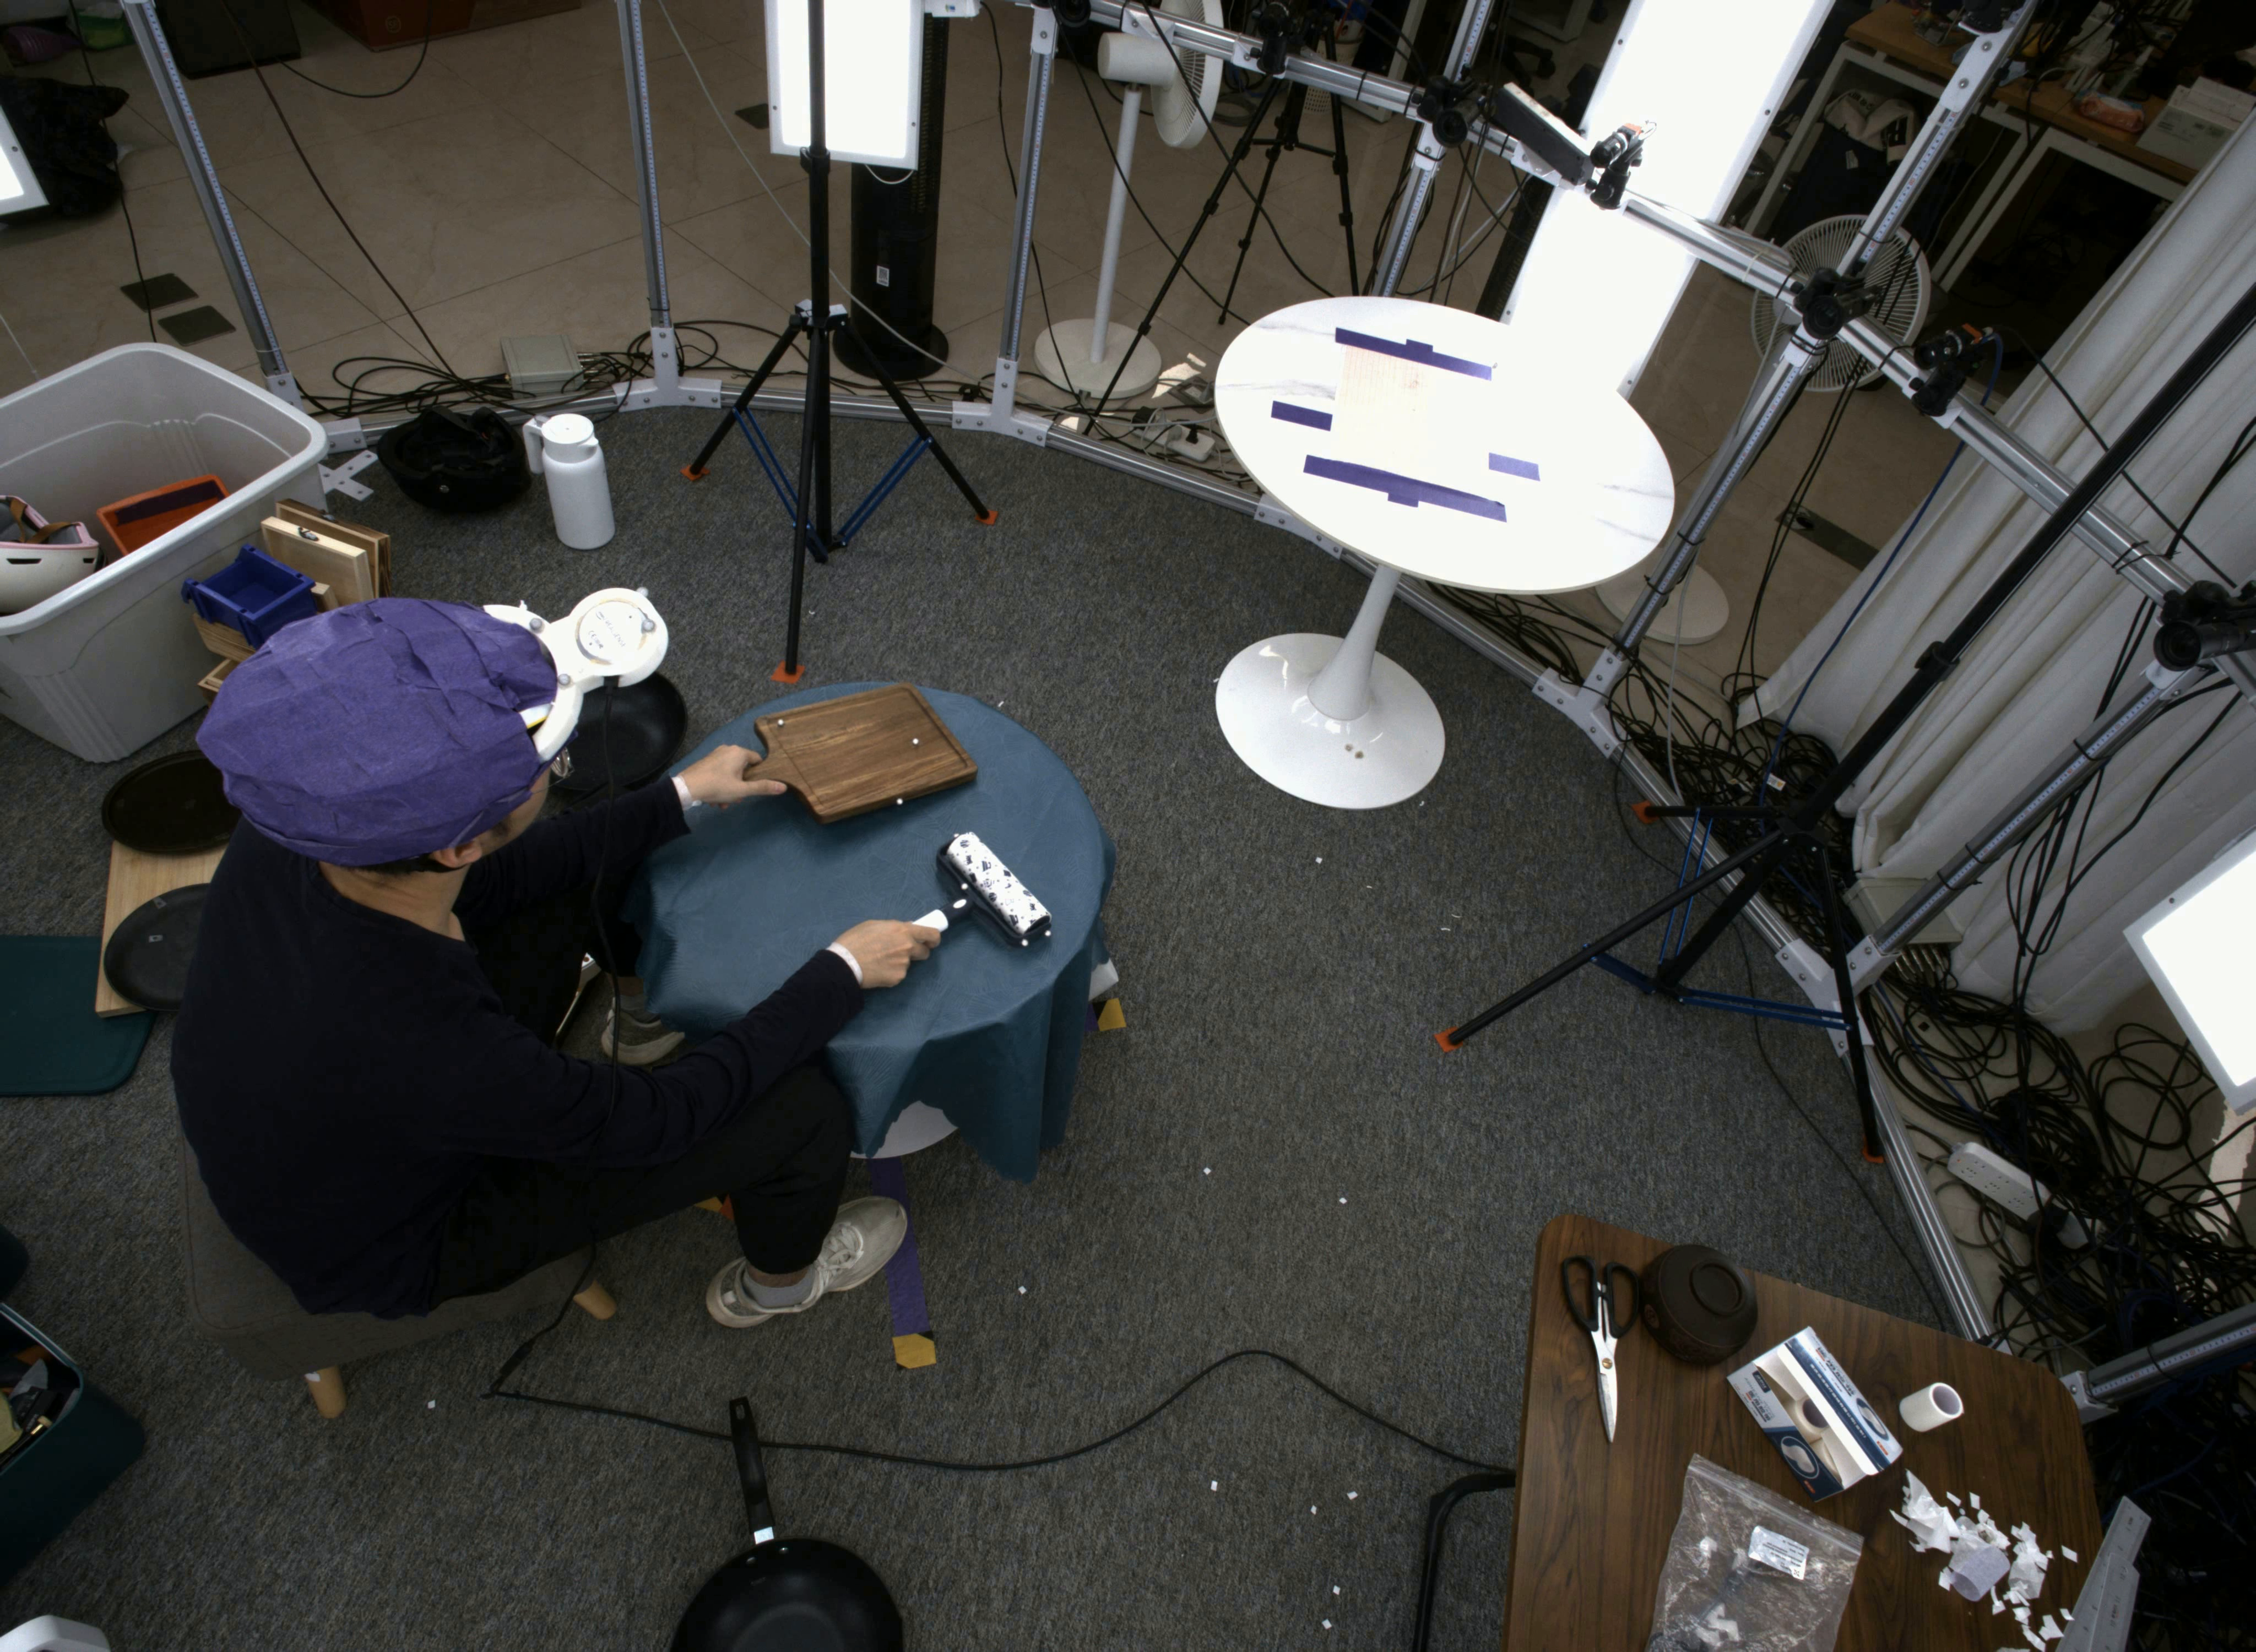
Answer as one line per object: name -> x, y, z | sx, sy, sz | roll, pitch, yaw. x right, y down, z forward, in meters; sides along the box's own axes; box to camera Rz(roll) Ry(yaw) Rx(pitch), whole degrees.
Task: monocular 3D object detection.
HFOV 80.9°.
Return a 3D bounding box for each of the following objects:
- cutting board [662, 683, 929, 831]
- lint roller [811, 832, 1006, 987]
cutting board -> -0.462, -0.087, 1.738 | 0.355, 0.023, 0.196 | -23, 61, -39
lint roller -> -0.295, 0.123, 1.639 | 0.173, 0.051, 0.248 | 43, 53, 16
